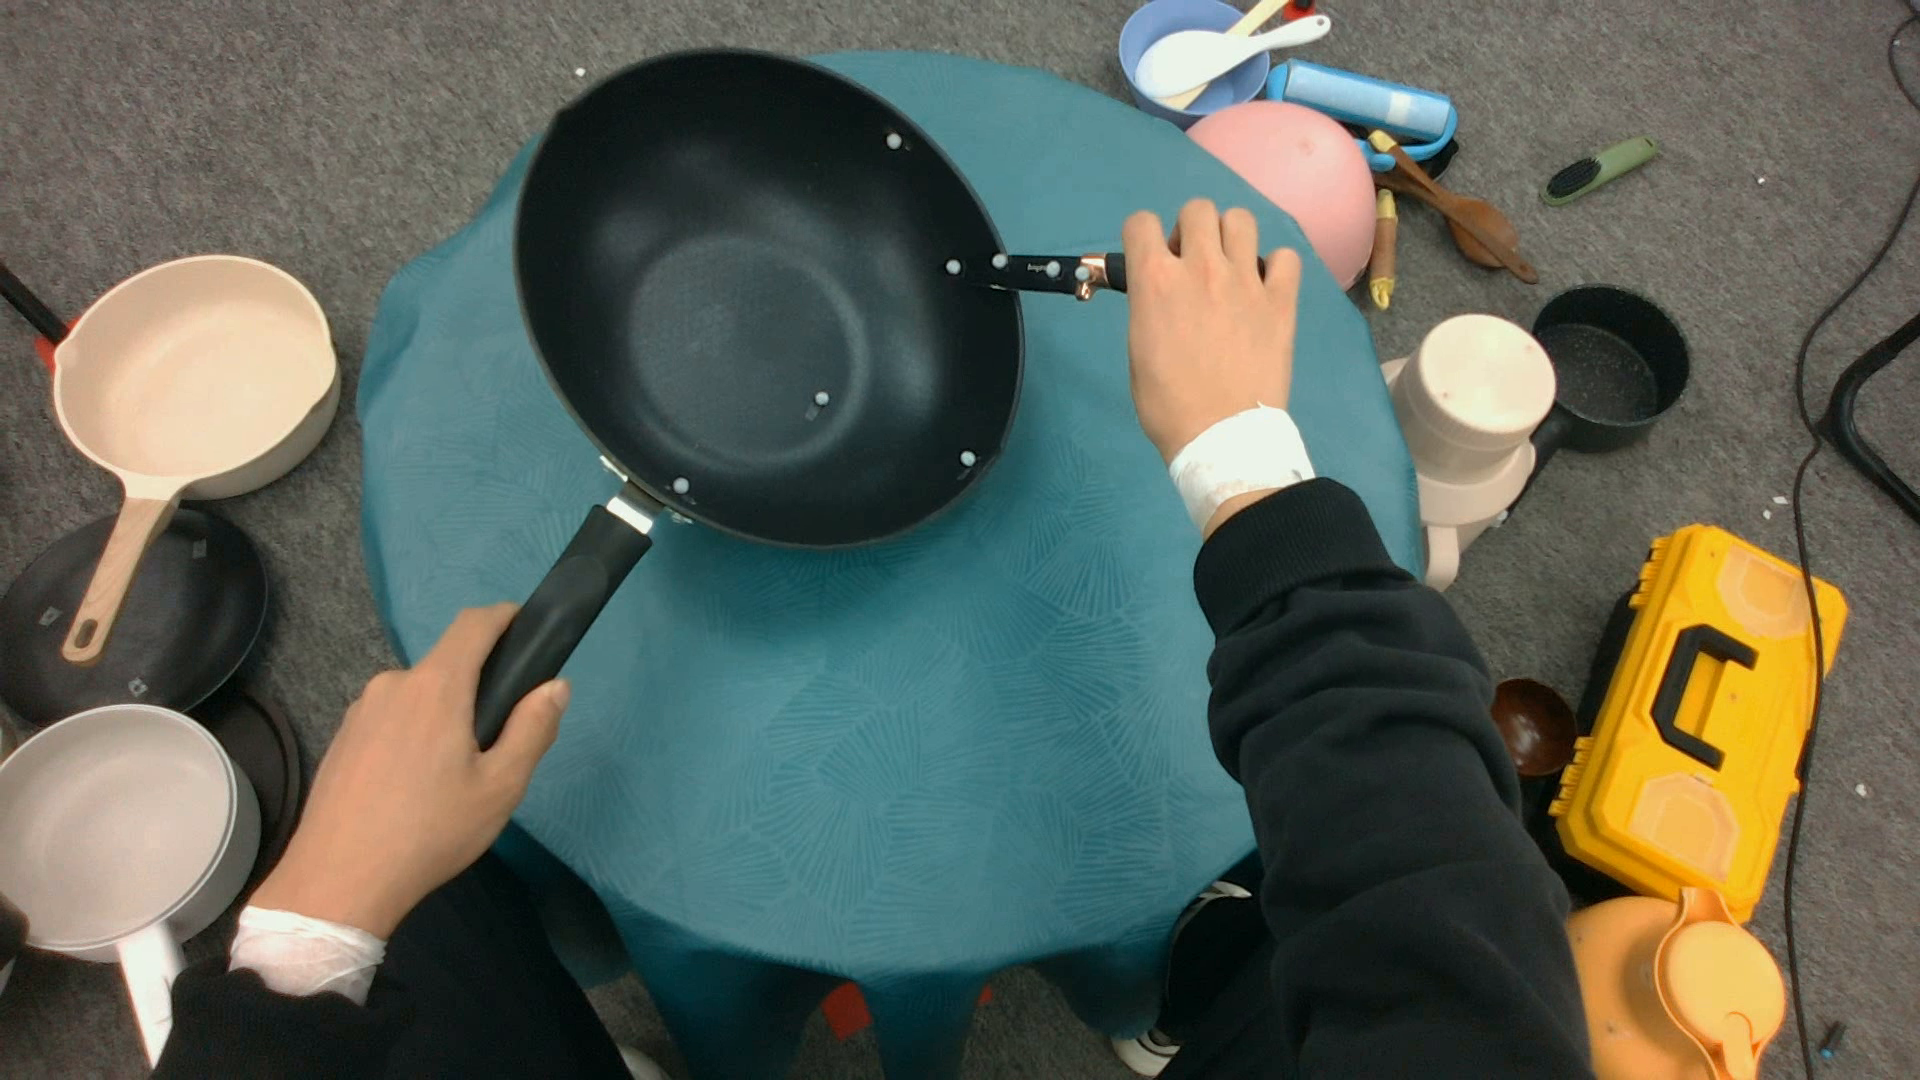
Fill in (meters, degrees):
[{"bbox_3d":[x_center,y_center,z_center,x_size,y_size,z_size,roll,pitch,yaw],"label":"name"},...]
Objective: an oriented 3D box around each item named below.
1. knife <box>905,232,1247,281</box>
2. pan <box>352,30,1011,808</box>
[{"bbox_3d":[0.054,-0.155,0.749,0.225,0.017,0.026,11,103,39],"label":"knife"},{"bbox_3d":[-0.154,-0.060,0.716,0.288,0.086,0.465,37,63,-15],"label":"pan"}]
